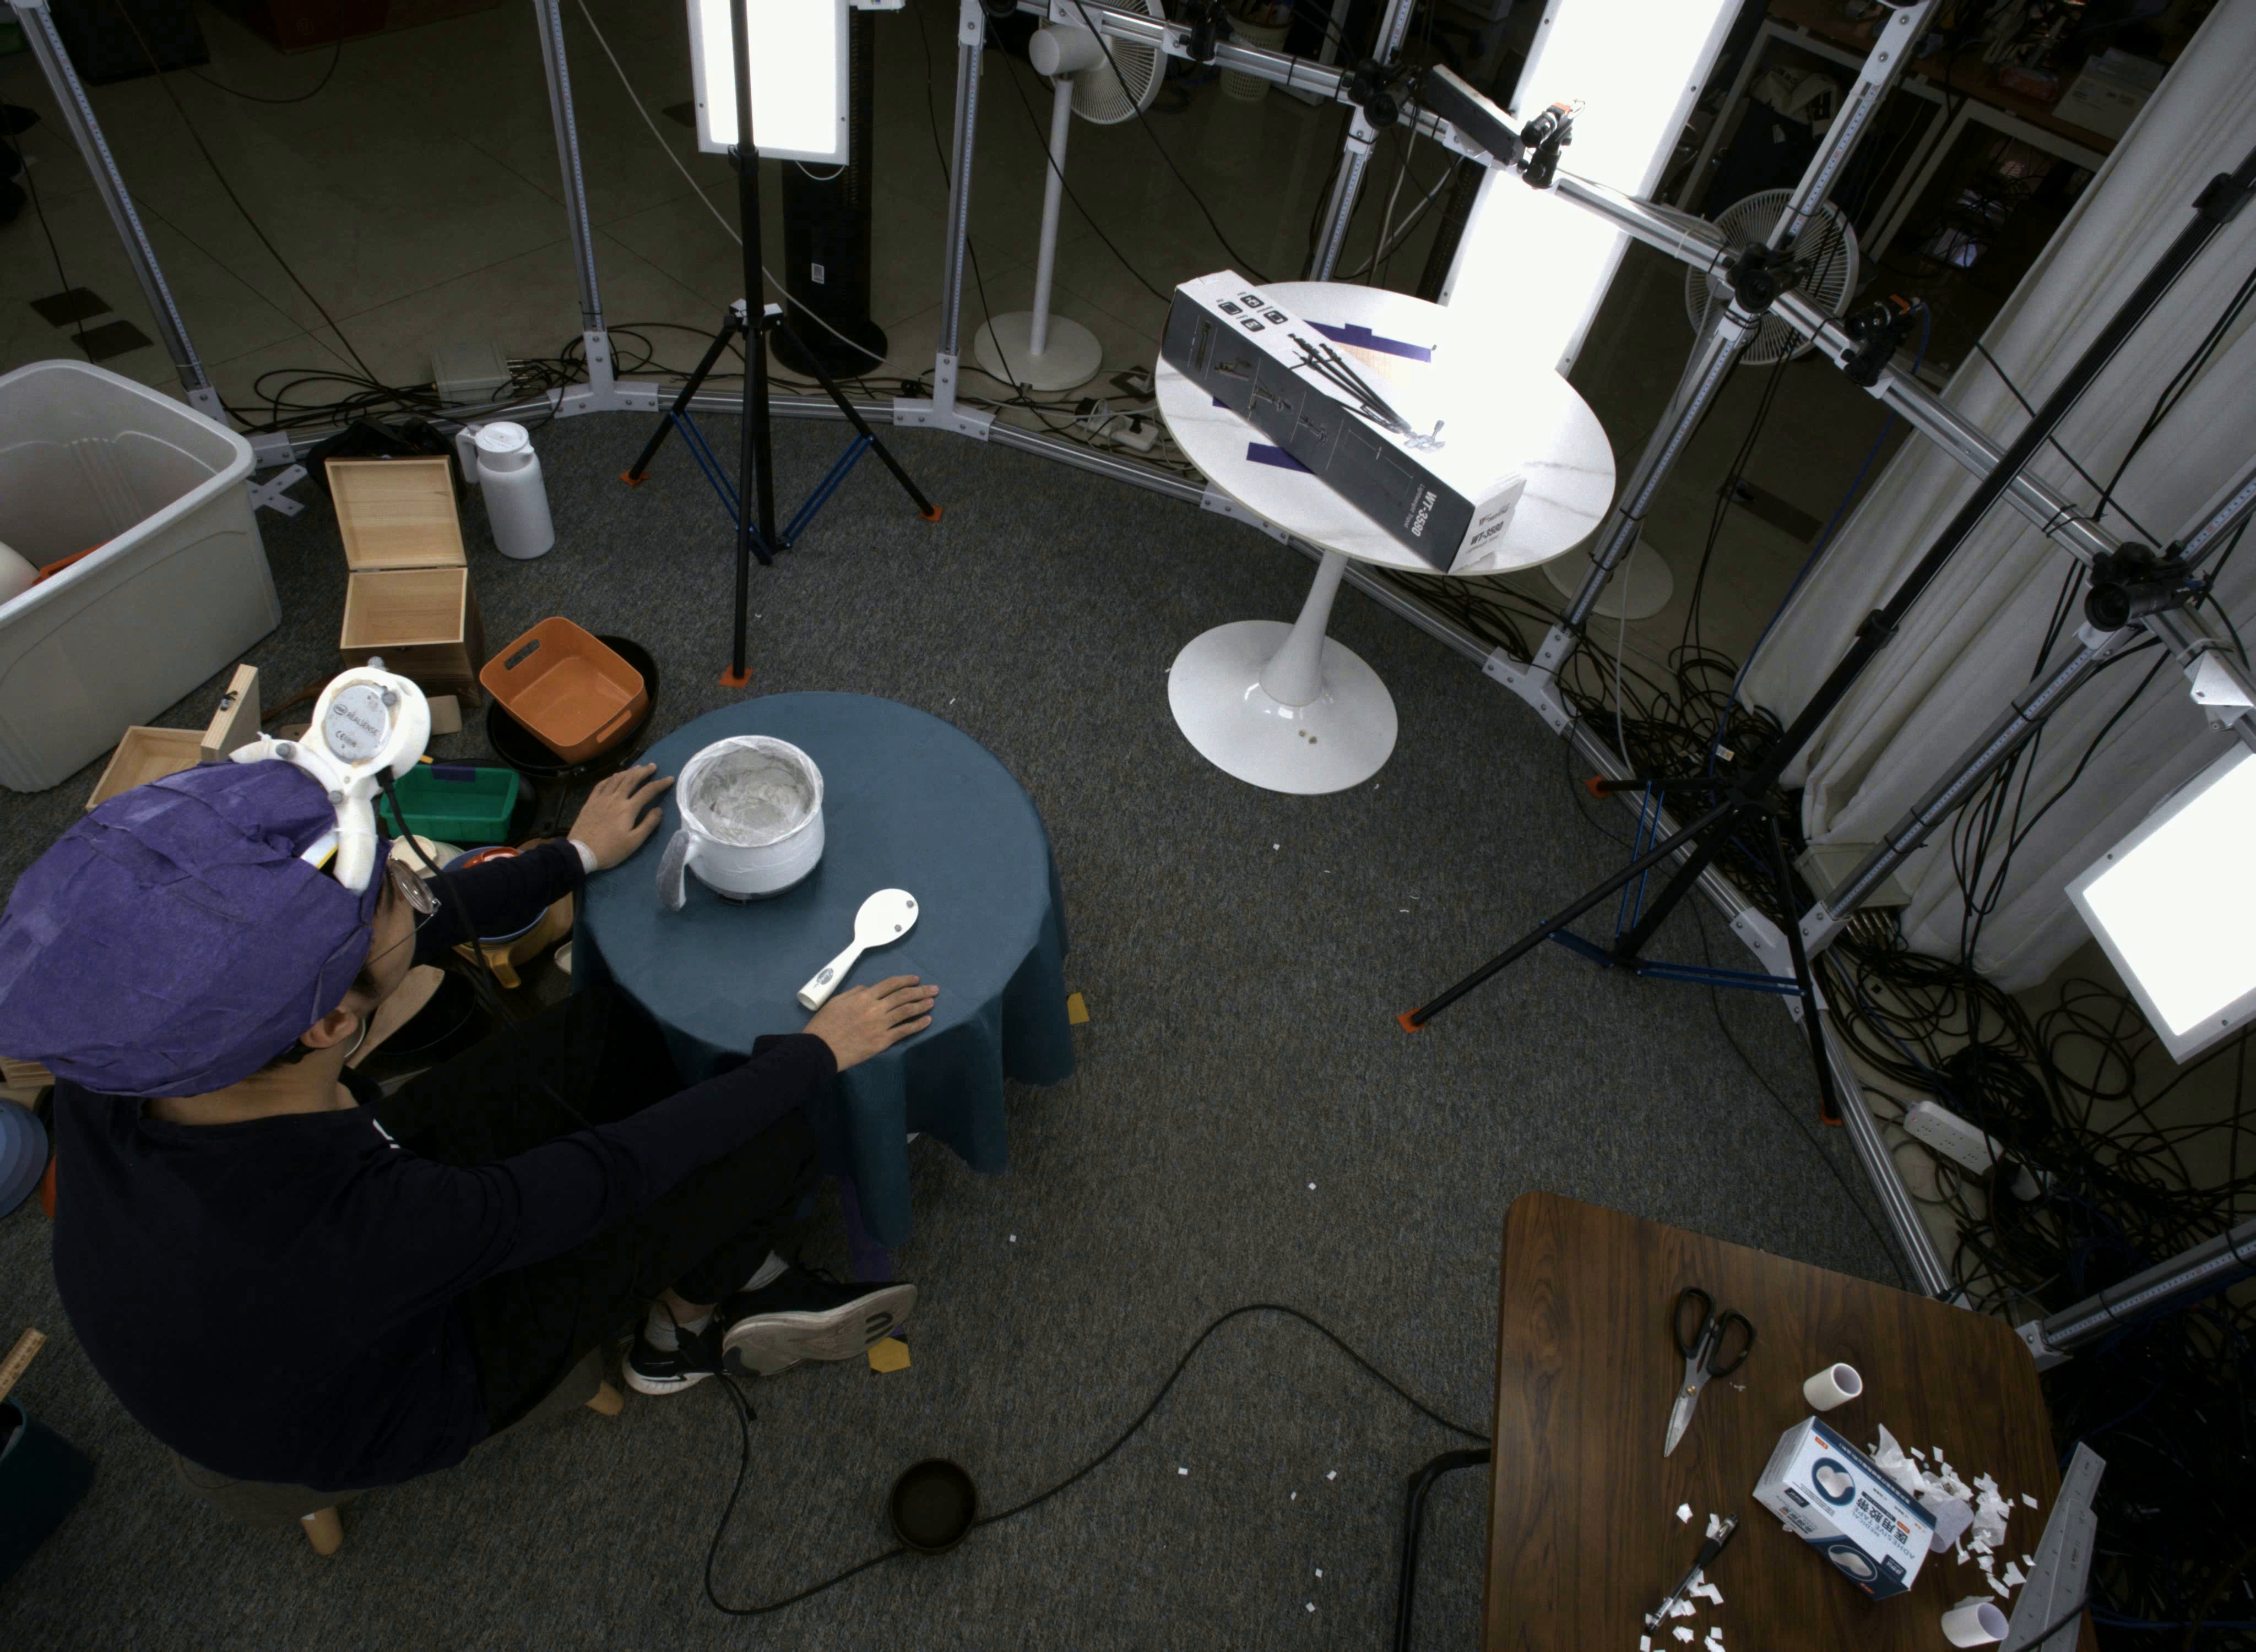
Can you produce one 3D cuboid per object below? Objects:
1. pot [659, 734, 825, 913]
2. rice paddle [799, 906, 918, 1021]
[{"bbox_3d":[-0.492,0.007,1.624,0.174,0.140,0.234,35,53,17],"label":"pot"},{"bbox_3d":[-0.336,0.162,1.626,0.067,0.030,0.204,27,45,14],"label":"rice paddle"}]
